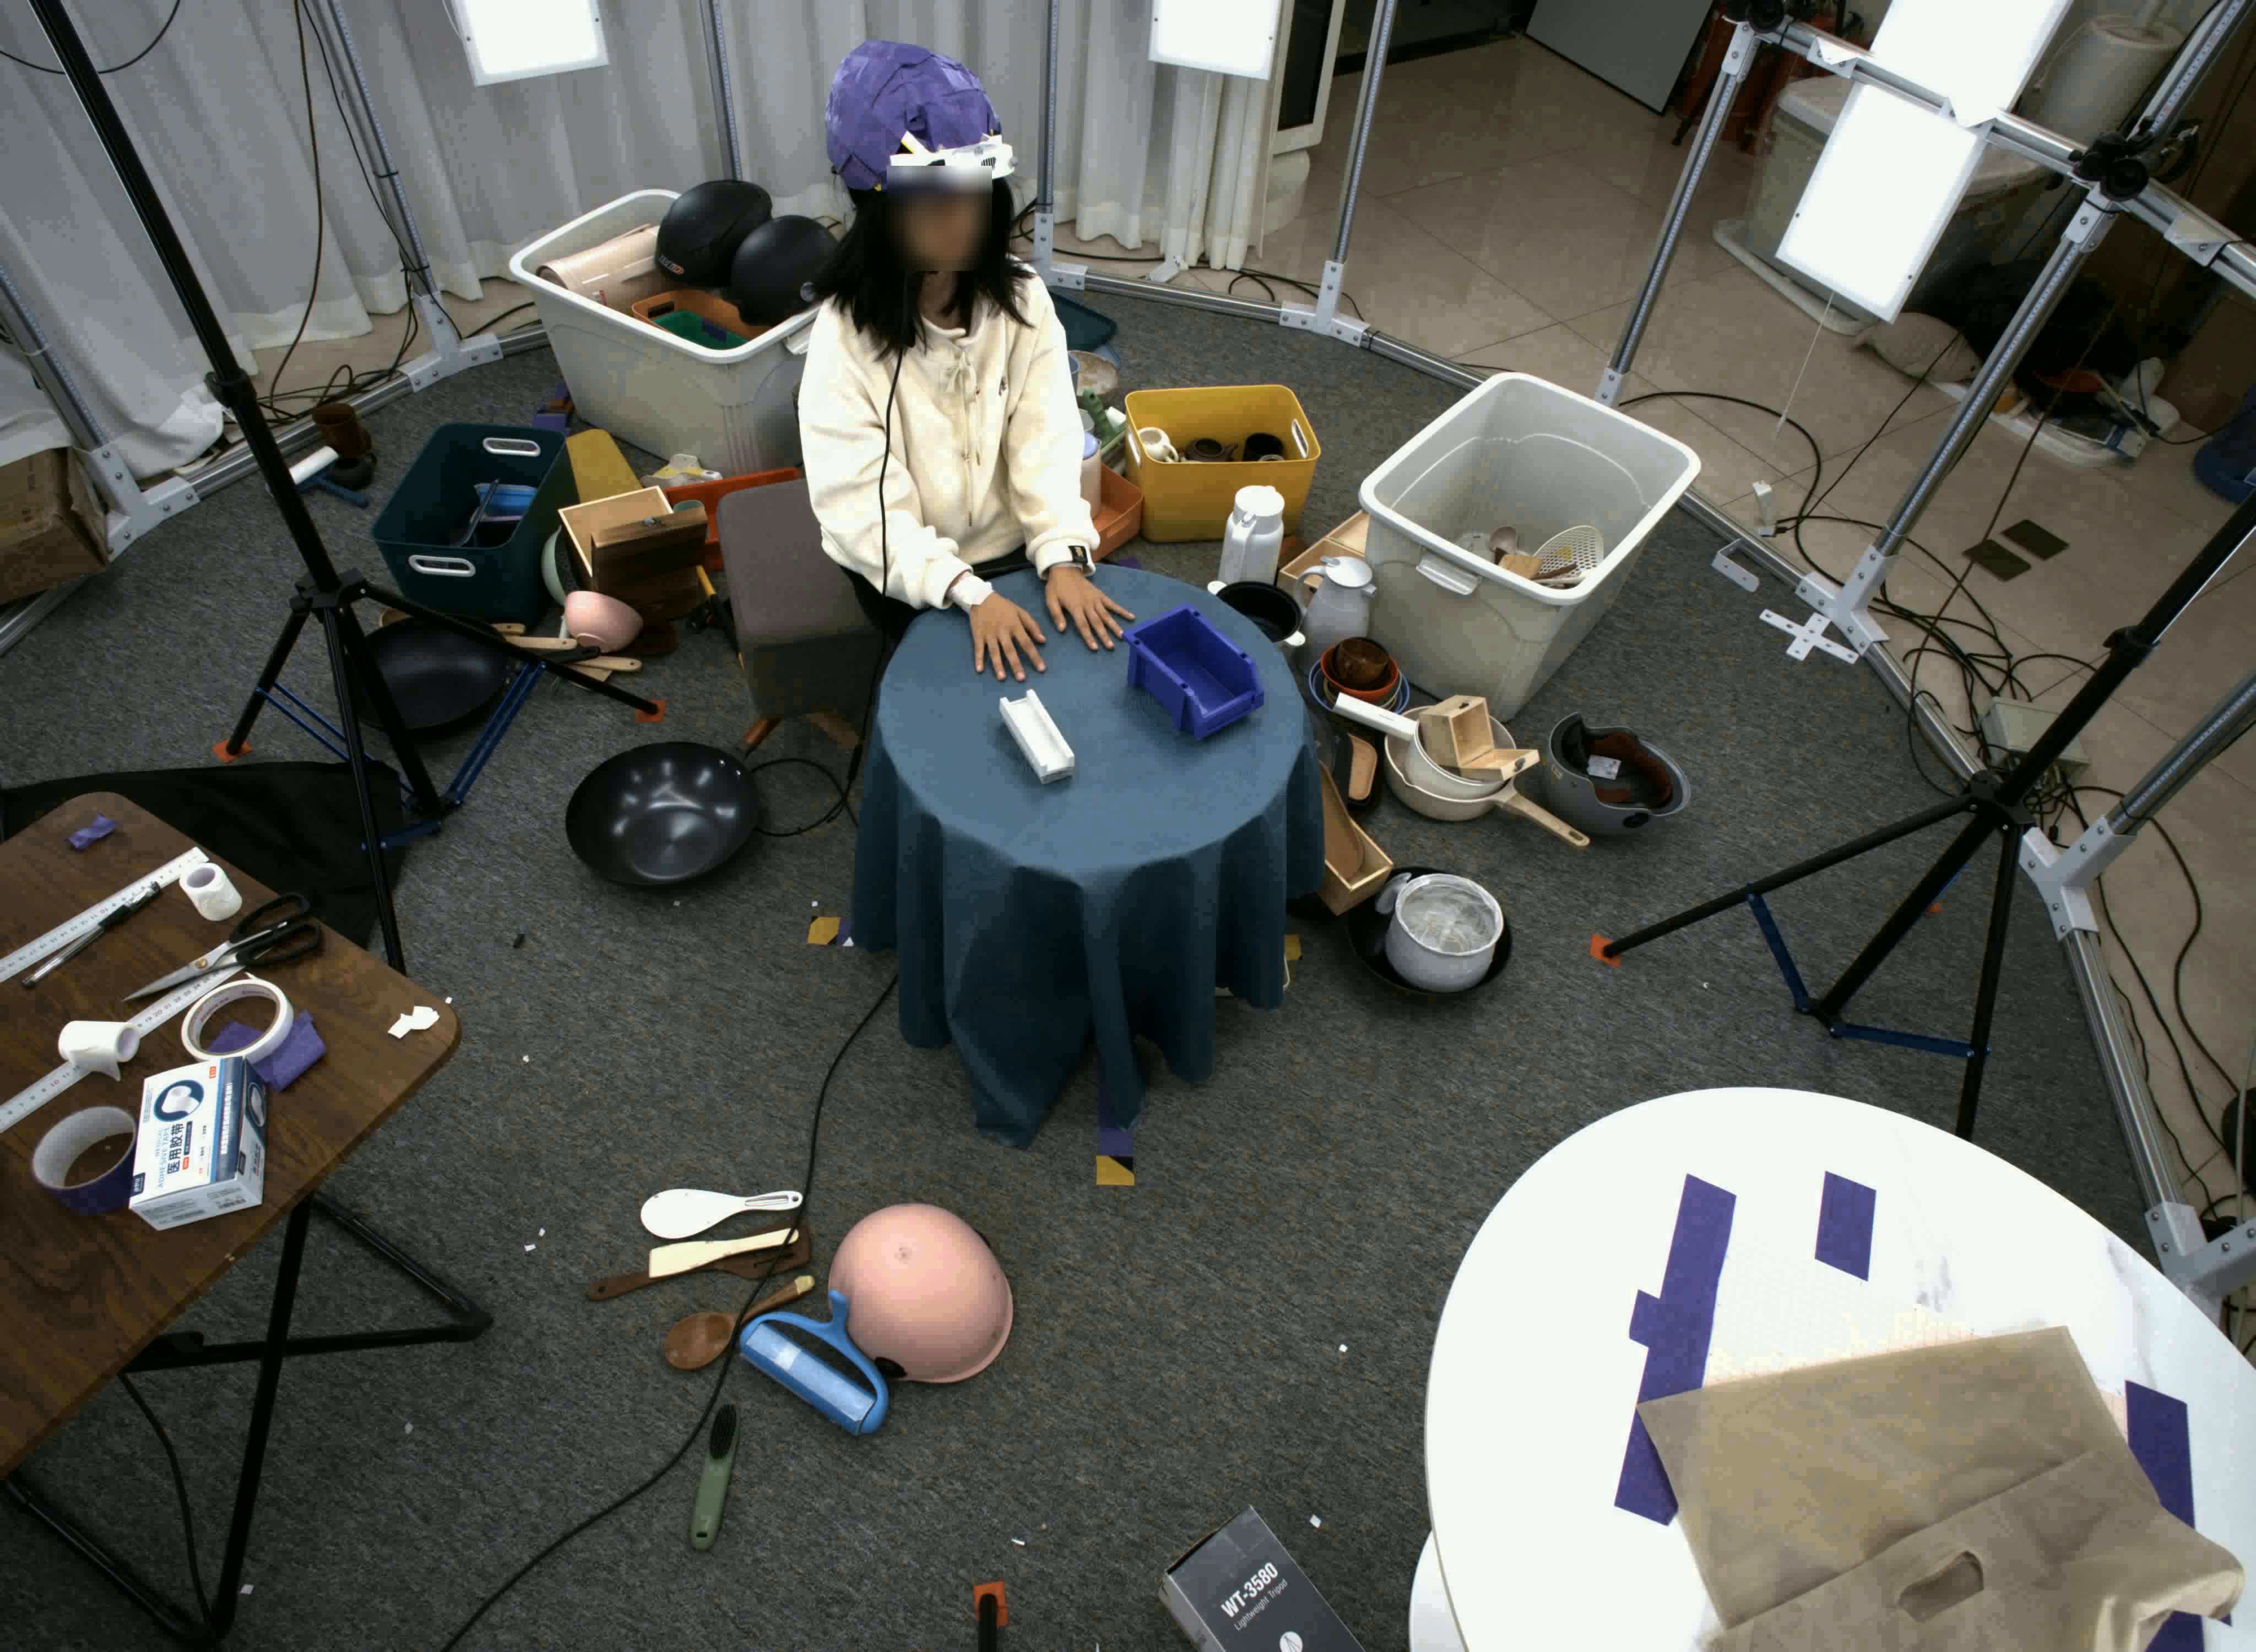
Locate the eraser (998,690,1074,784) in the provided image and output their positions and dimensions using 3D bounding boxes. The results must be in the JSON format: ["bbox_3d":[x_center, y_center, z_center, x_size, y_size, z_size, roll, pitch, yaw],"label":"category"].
[{"bbox_3d":[-0.126,-0.121,1.736,0.050,0.045,0.137,-22,56,-19],"label":"eraser"}]

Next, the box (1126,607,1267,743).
[{"bbox_3d":[0.098,-0.210,1.806,0.125,0.080,0.183,-27,54,-24],"label":"box"}]
